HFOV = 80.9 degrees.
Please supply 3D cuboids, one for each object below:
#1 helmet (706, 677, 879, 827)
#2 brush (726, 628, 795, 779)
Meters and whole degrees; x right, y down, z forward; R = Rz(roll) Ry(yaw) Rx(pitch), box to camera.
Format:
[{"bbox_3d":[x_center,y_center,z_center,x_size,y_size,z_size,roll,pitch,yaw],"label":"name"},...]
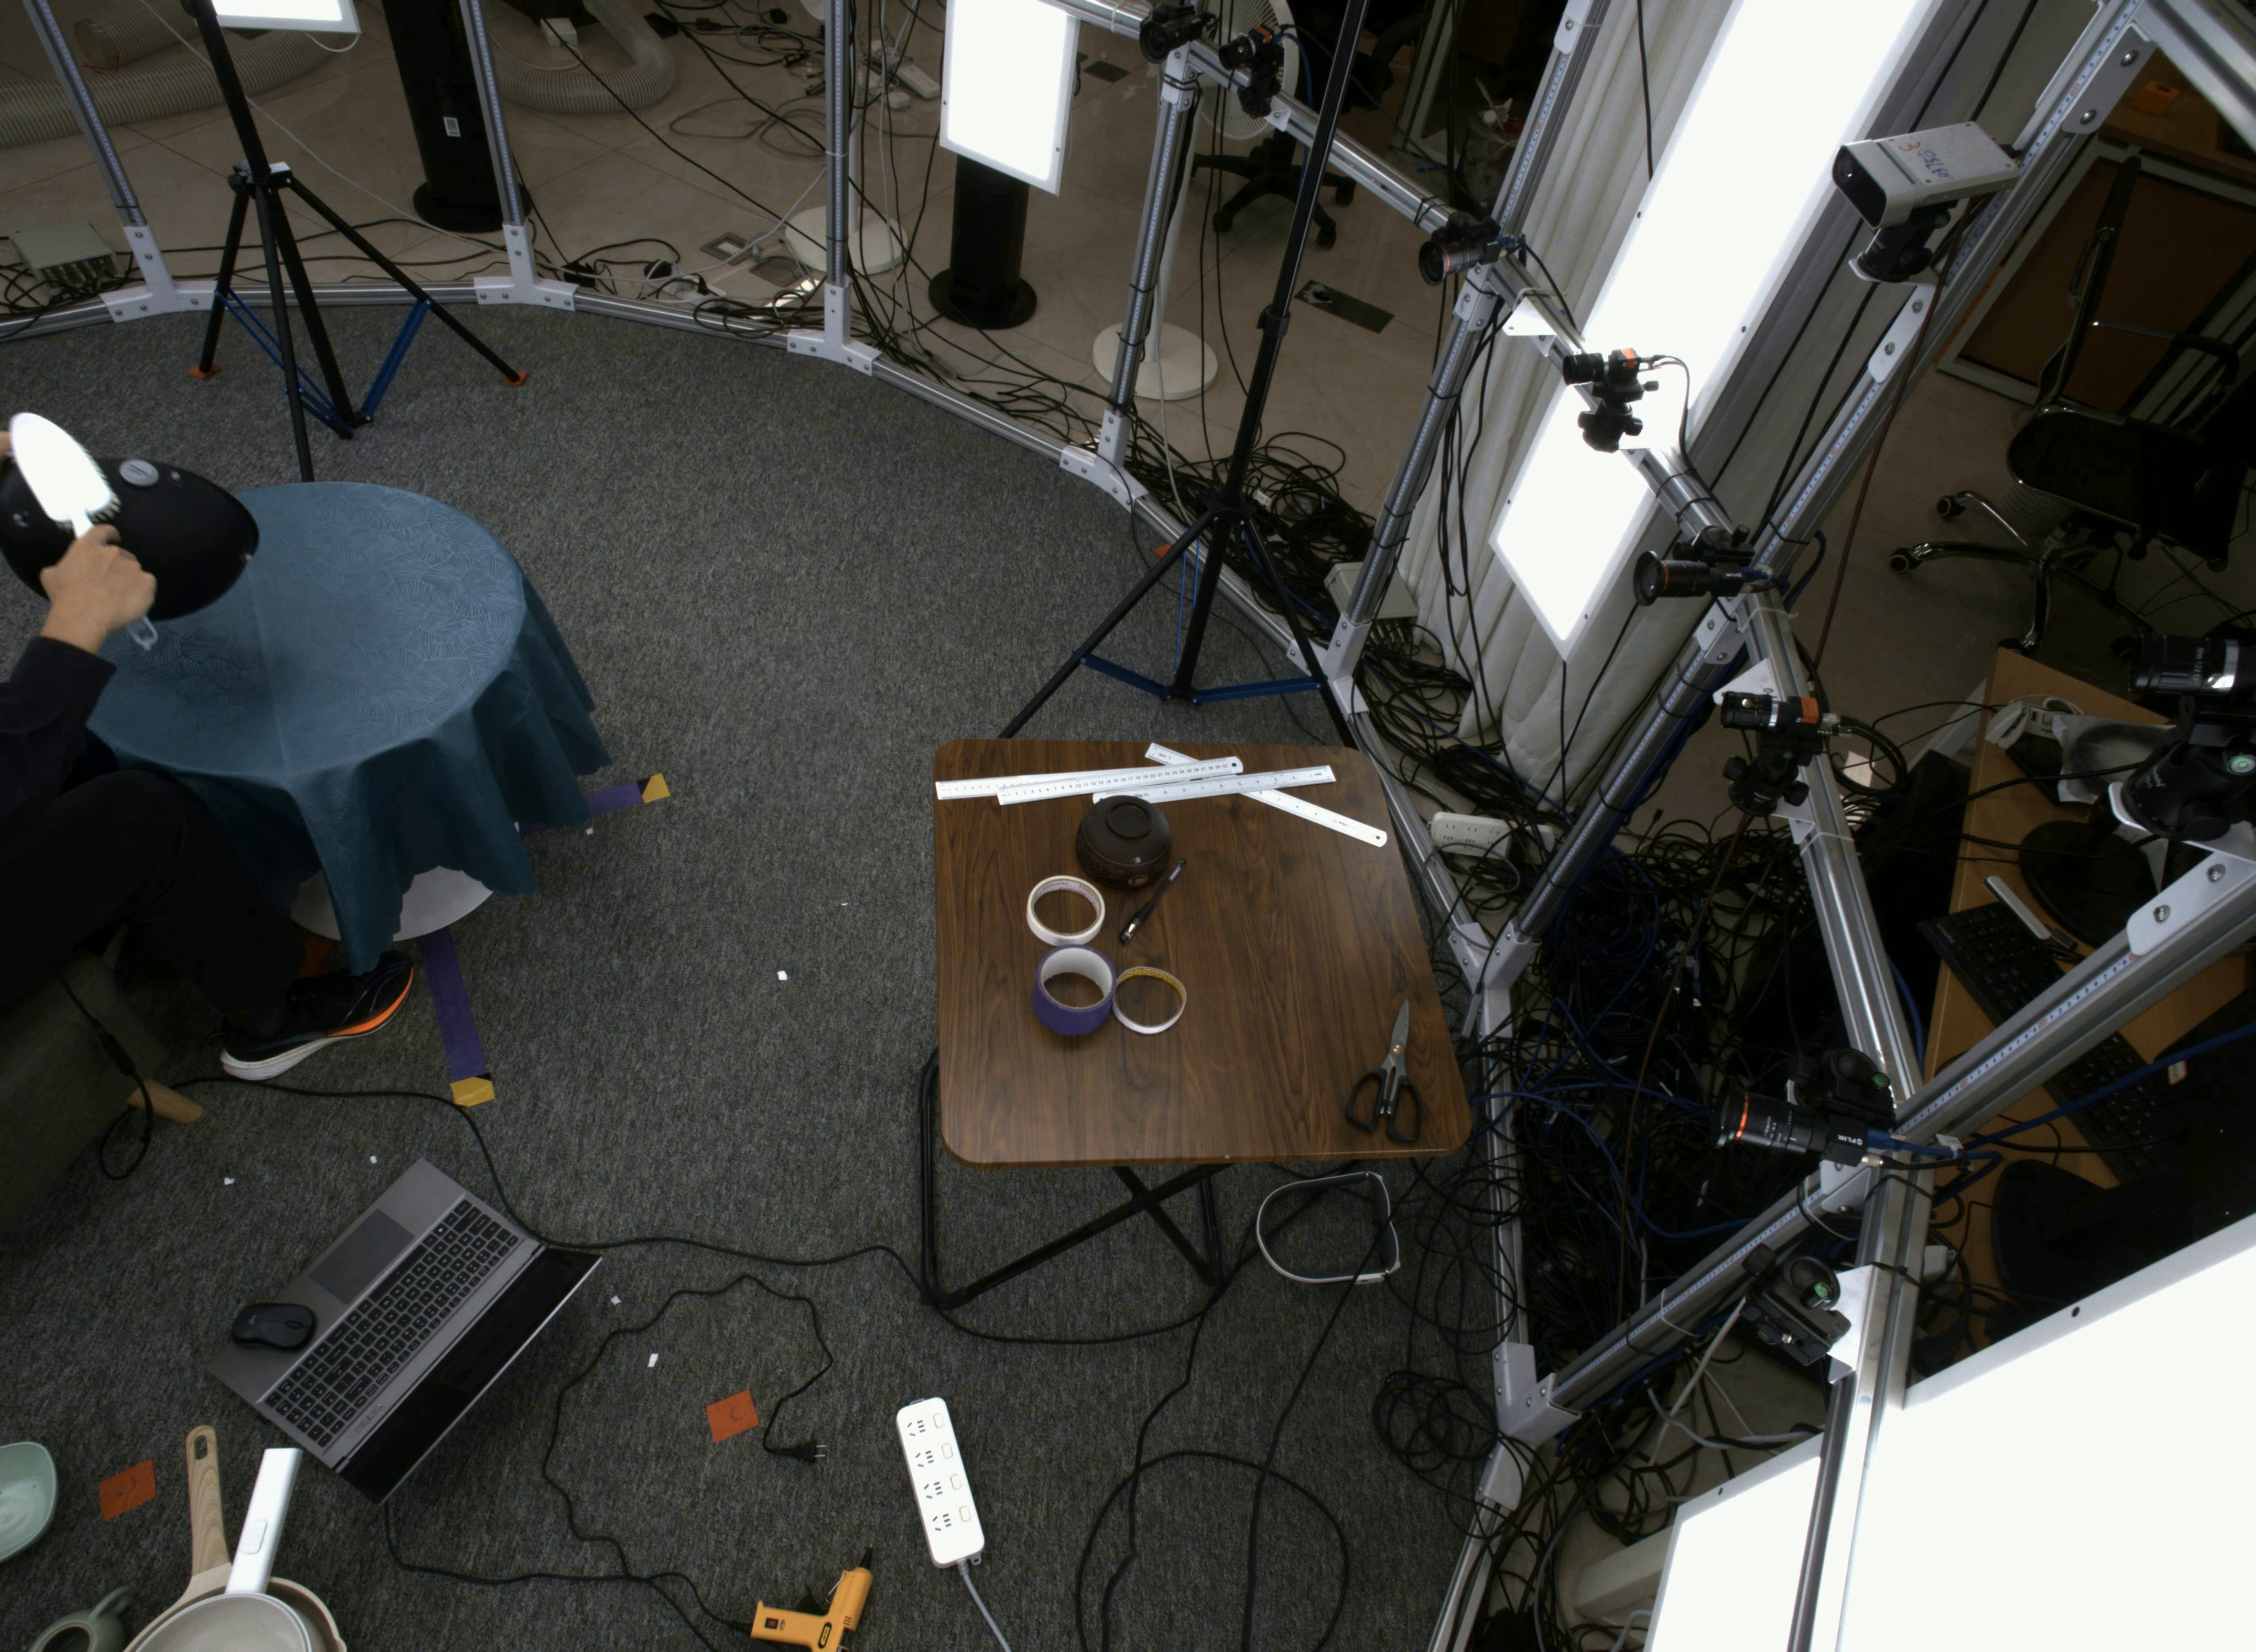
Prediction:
[{"bbox_3d":[-0.524,-0.106,1.939,0.266,0.236,0.167,25,36,17],"label":"helmet"},{"bbox_3d":[-0.514,-0.152,1.792,0.087,0.082,0.317,36,31,-33],"label":"brush"}]
